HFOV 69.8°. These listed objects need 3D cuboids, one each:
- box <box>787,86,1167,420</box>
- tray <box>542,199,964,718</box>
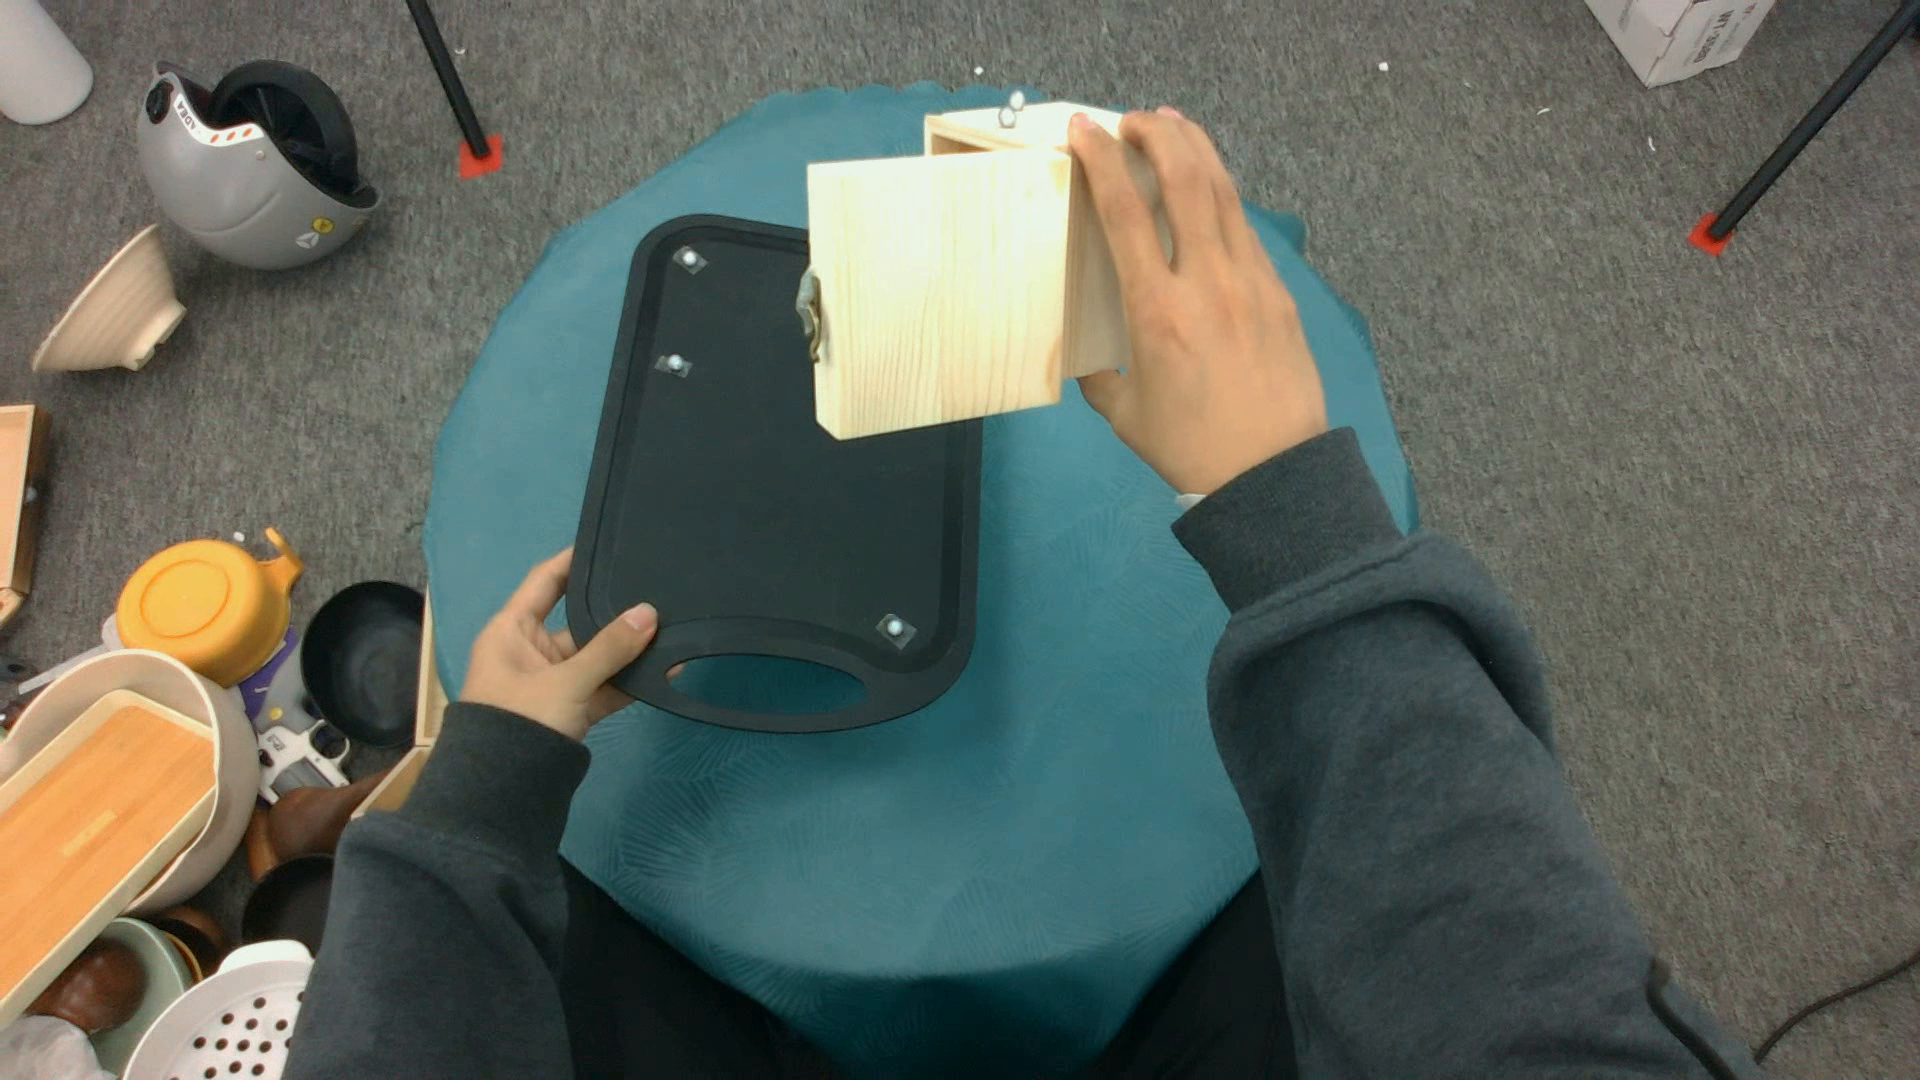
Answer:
[{"bbox_3d":[-0.009,-0.133,0.600,0.185,0.102,0.134,-14,29,-29],"label":"box"},{"bbox_3d":[-0.102,-0.056,0.751,0.211,0.010,0.327,7,59,-9],"label":"tray"}]
